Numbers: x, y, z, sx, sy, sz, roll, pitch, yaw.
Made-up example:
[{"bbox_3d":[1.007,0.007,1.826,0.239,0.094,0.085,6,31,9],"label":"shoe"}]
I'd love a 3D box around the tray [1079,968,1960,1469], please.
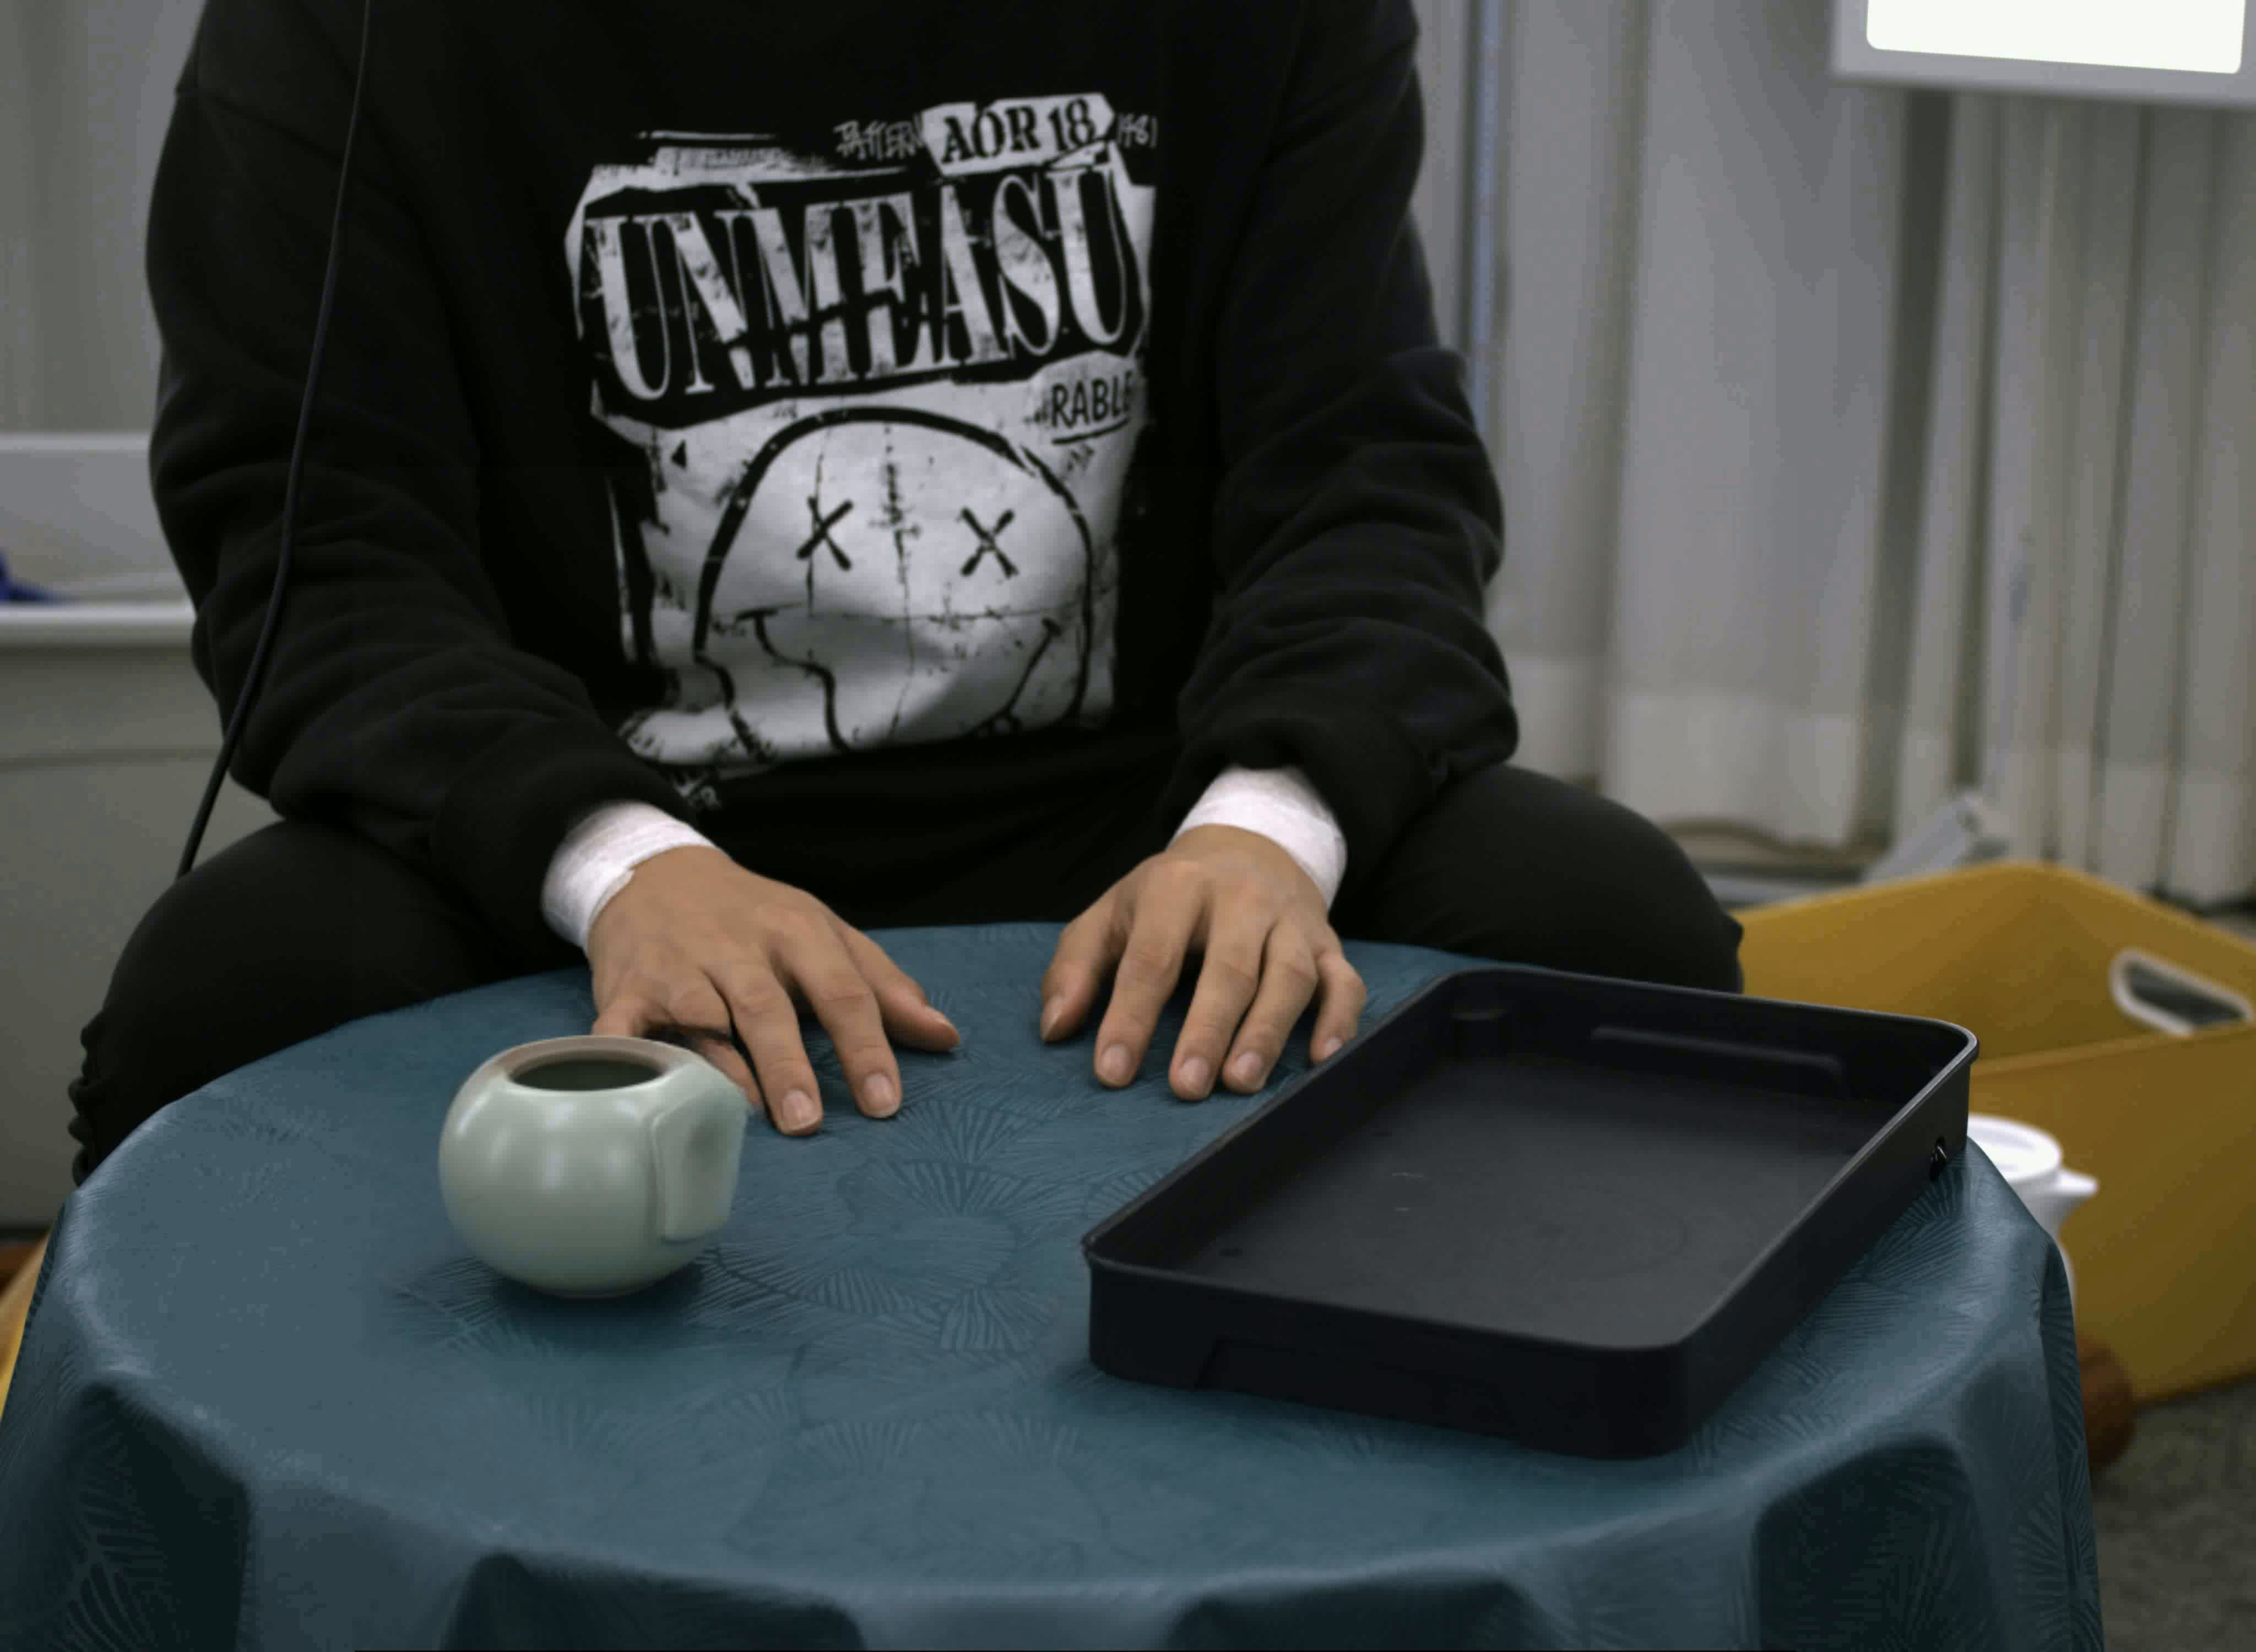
[{"bbox_3d":[0.124,0.109,1.570,0.182,0.037,0.318,7,17,21],"label":"tray"}]

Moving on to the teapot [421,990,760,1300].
[{"bbox_3d":[-0.157,0.097,1.537,0.089,0.075,0.142,-15,23,-43],"label":"teapot"}]
